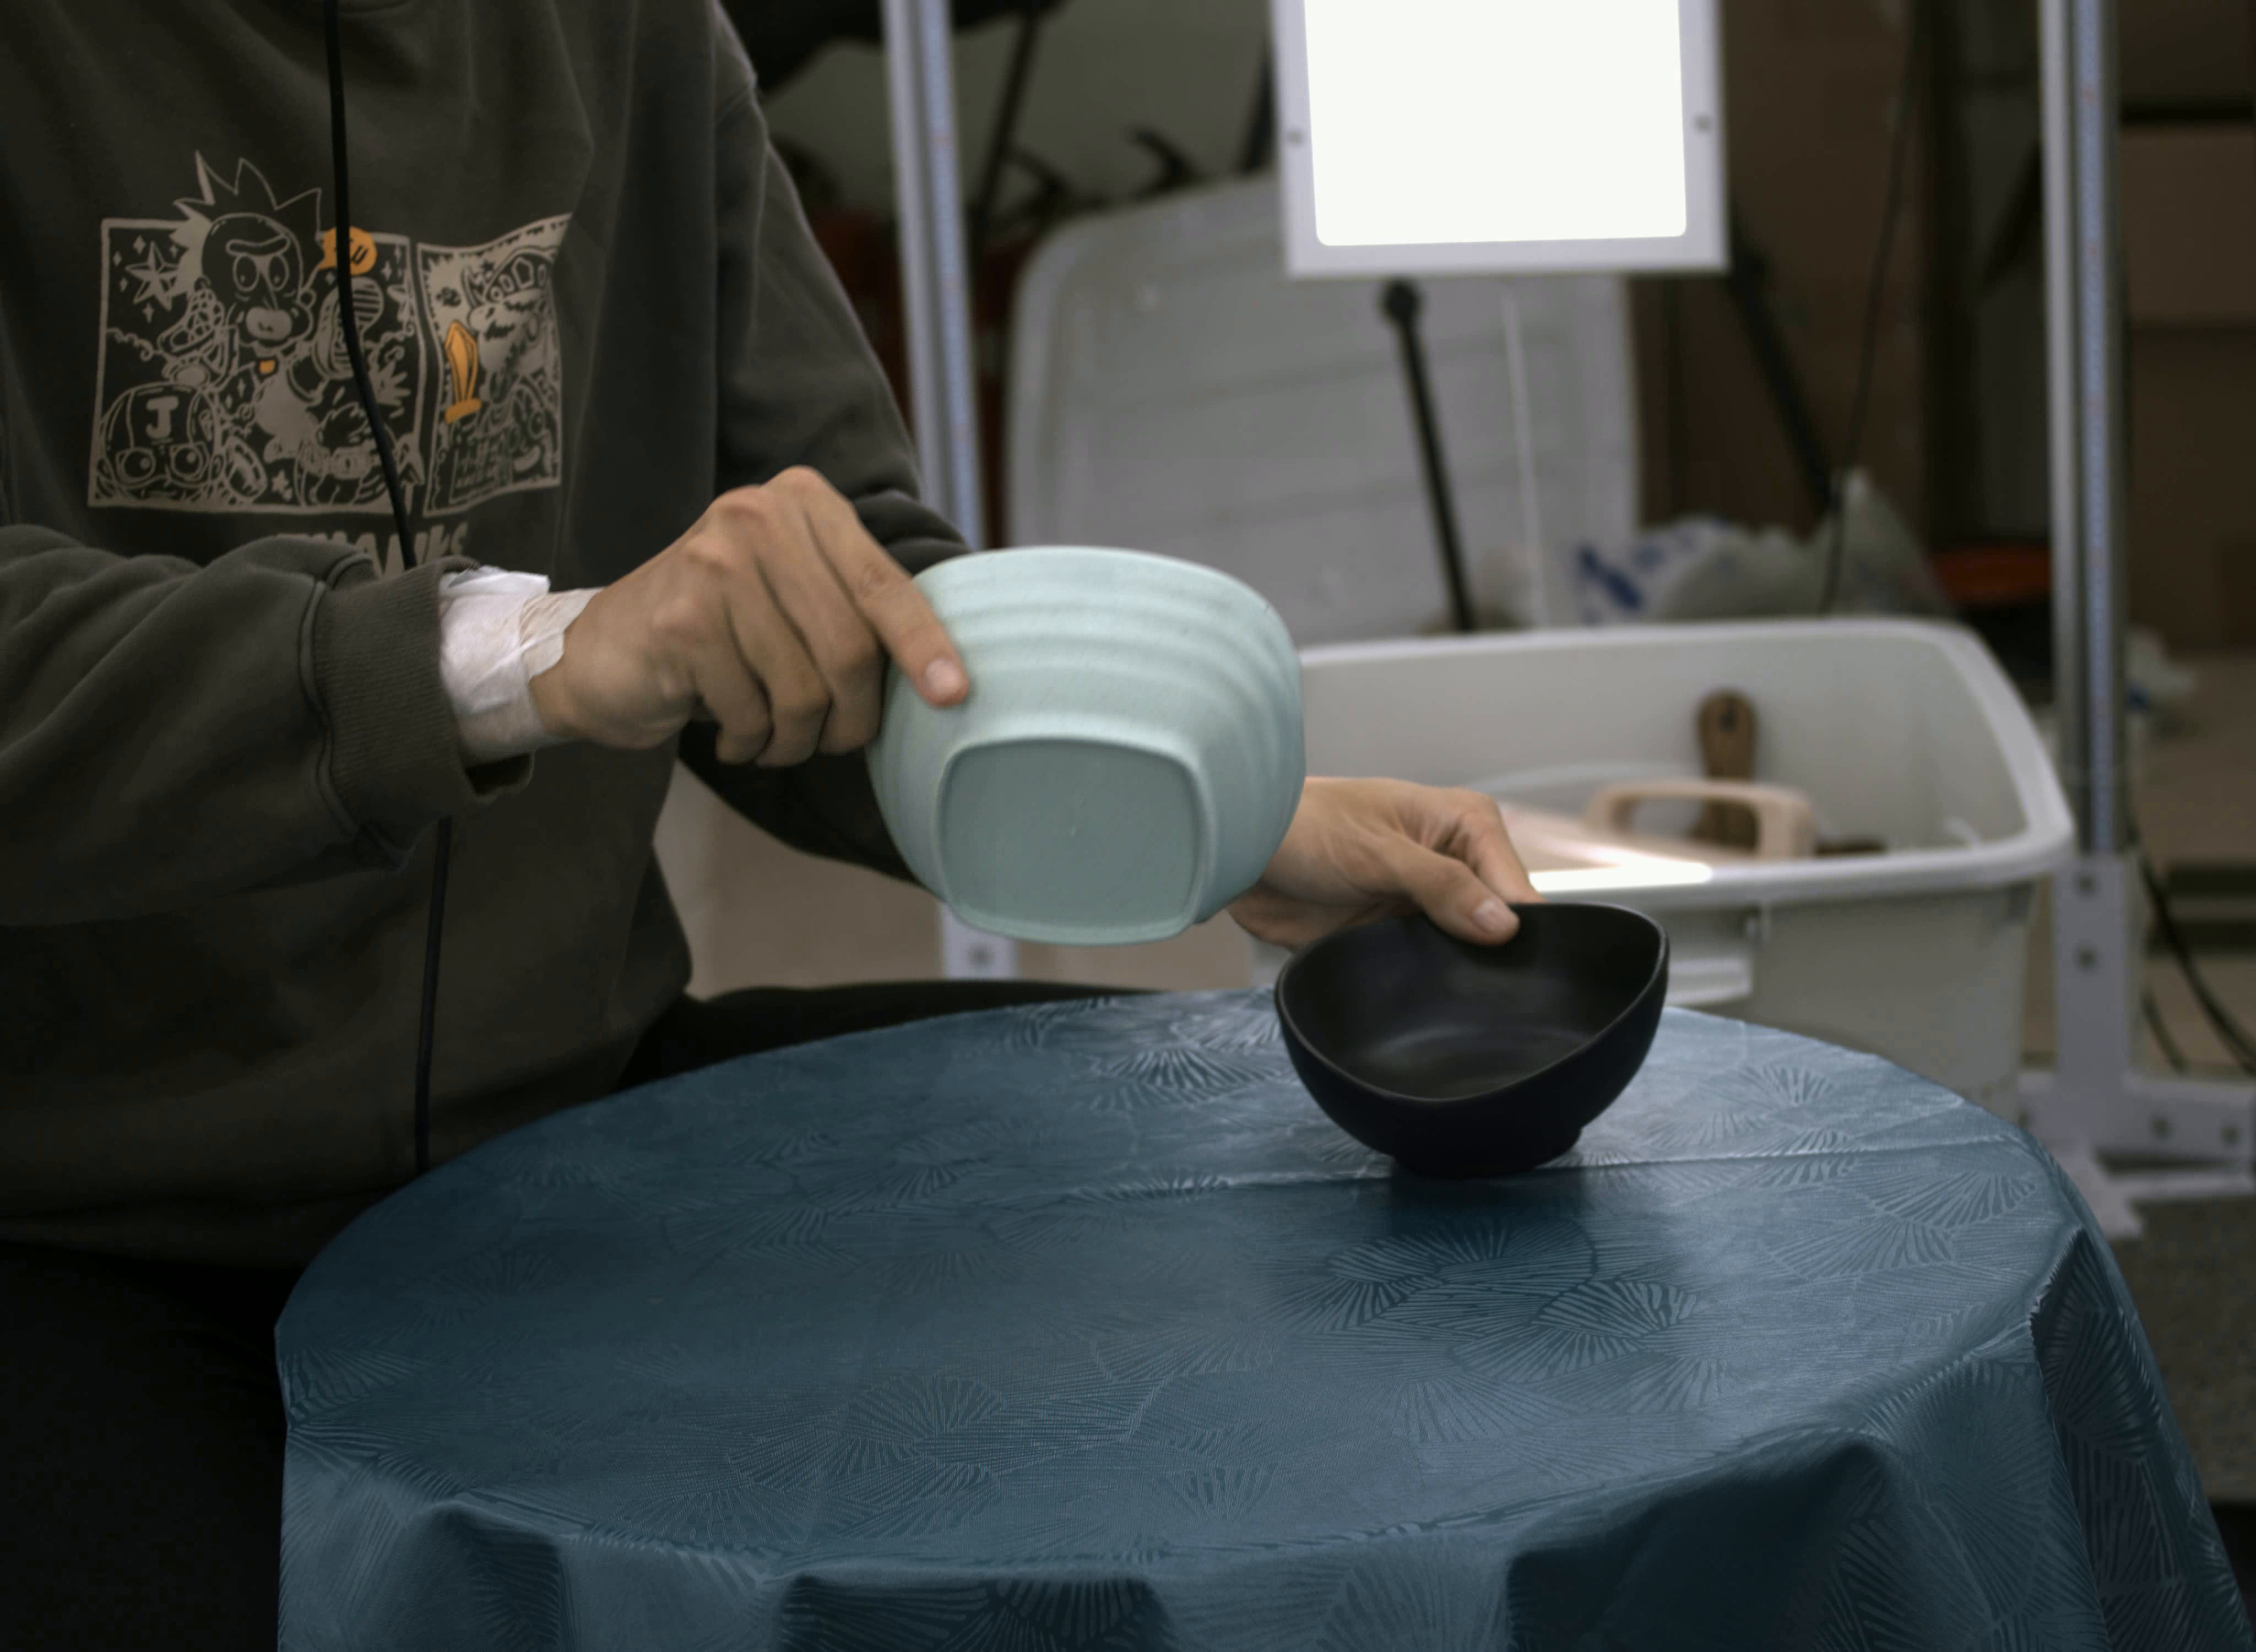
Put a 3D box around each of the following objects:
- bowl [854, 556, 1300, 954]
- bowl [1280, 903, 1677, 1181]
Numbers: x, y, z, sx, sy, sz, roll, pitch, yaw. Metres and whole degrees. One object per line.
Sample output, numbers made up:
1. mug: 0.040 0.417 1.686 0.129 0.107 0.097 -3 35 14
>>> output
1. bowl: -0.019 -0.011 1.674 0.152 0.151 0.058 -1 43 12
2. bowl: 0.124 0.080 1.898 0.138 0.067 0.168 -5 19 11
